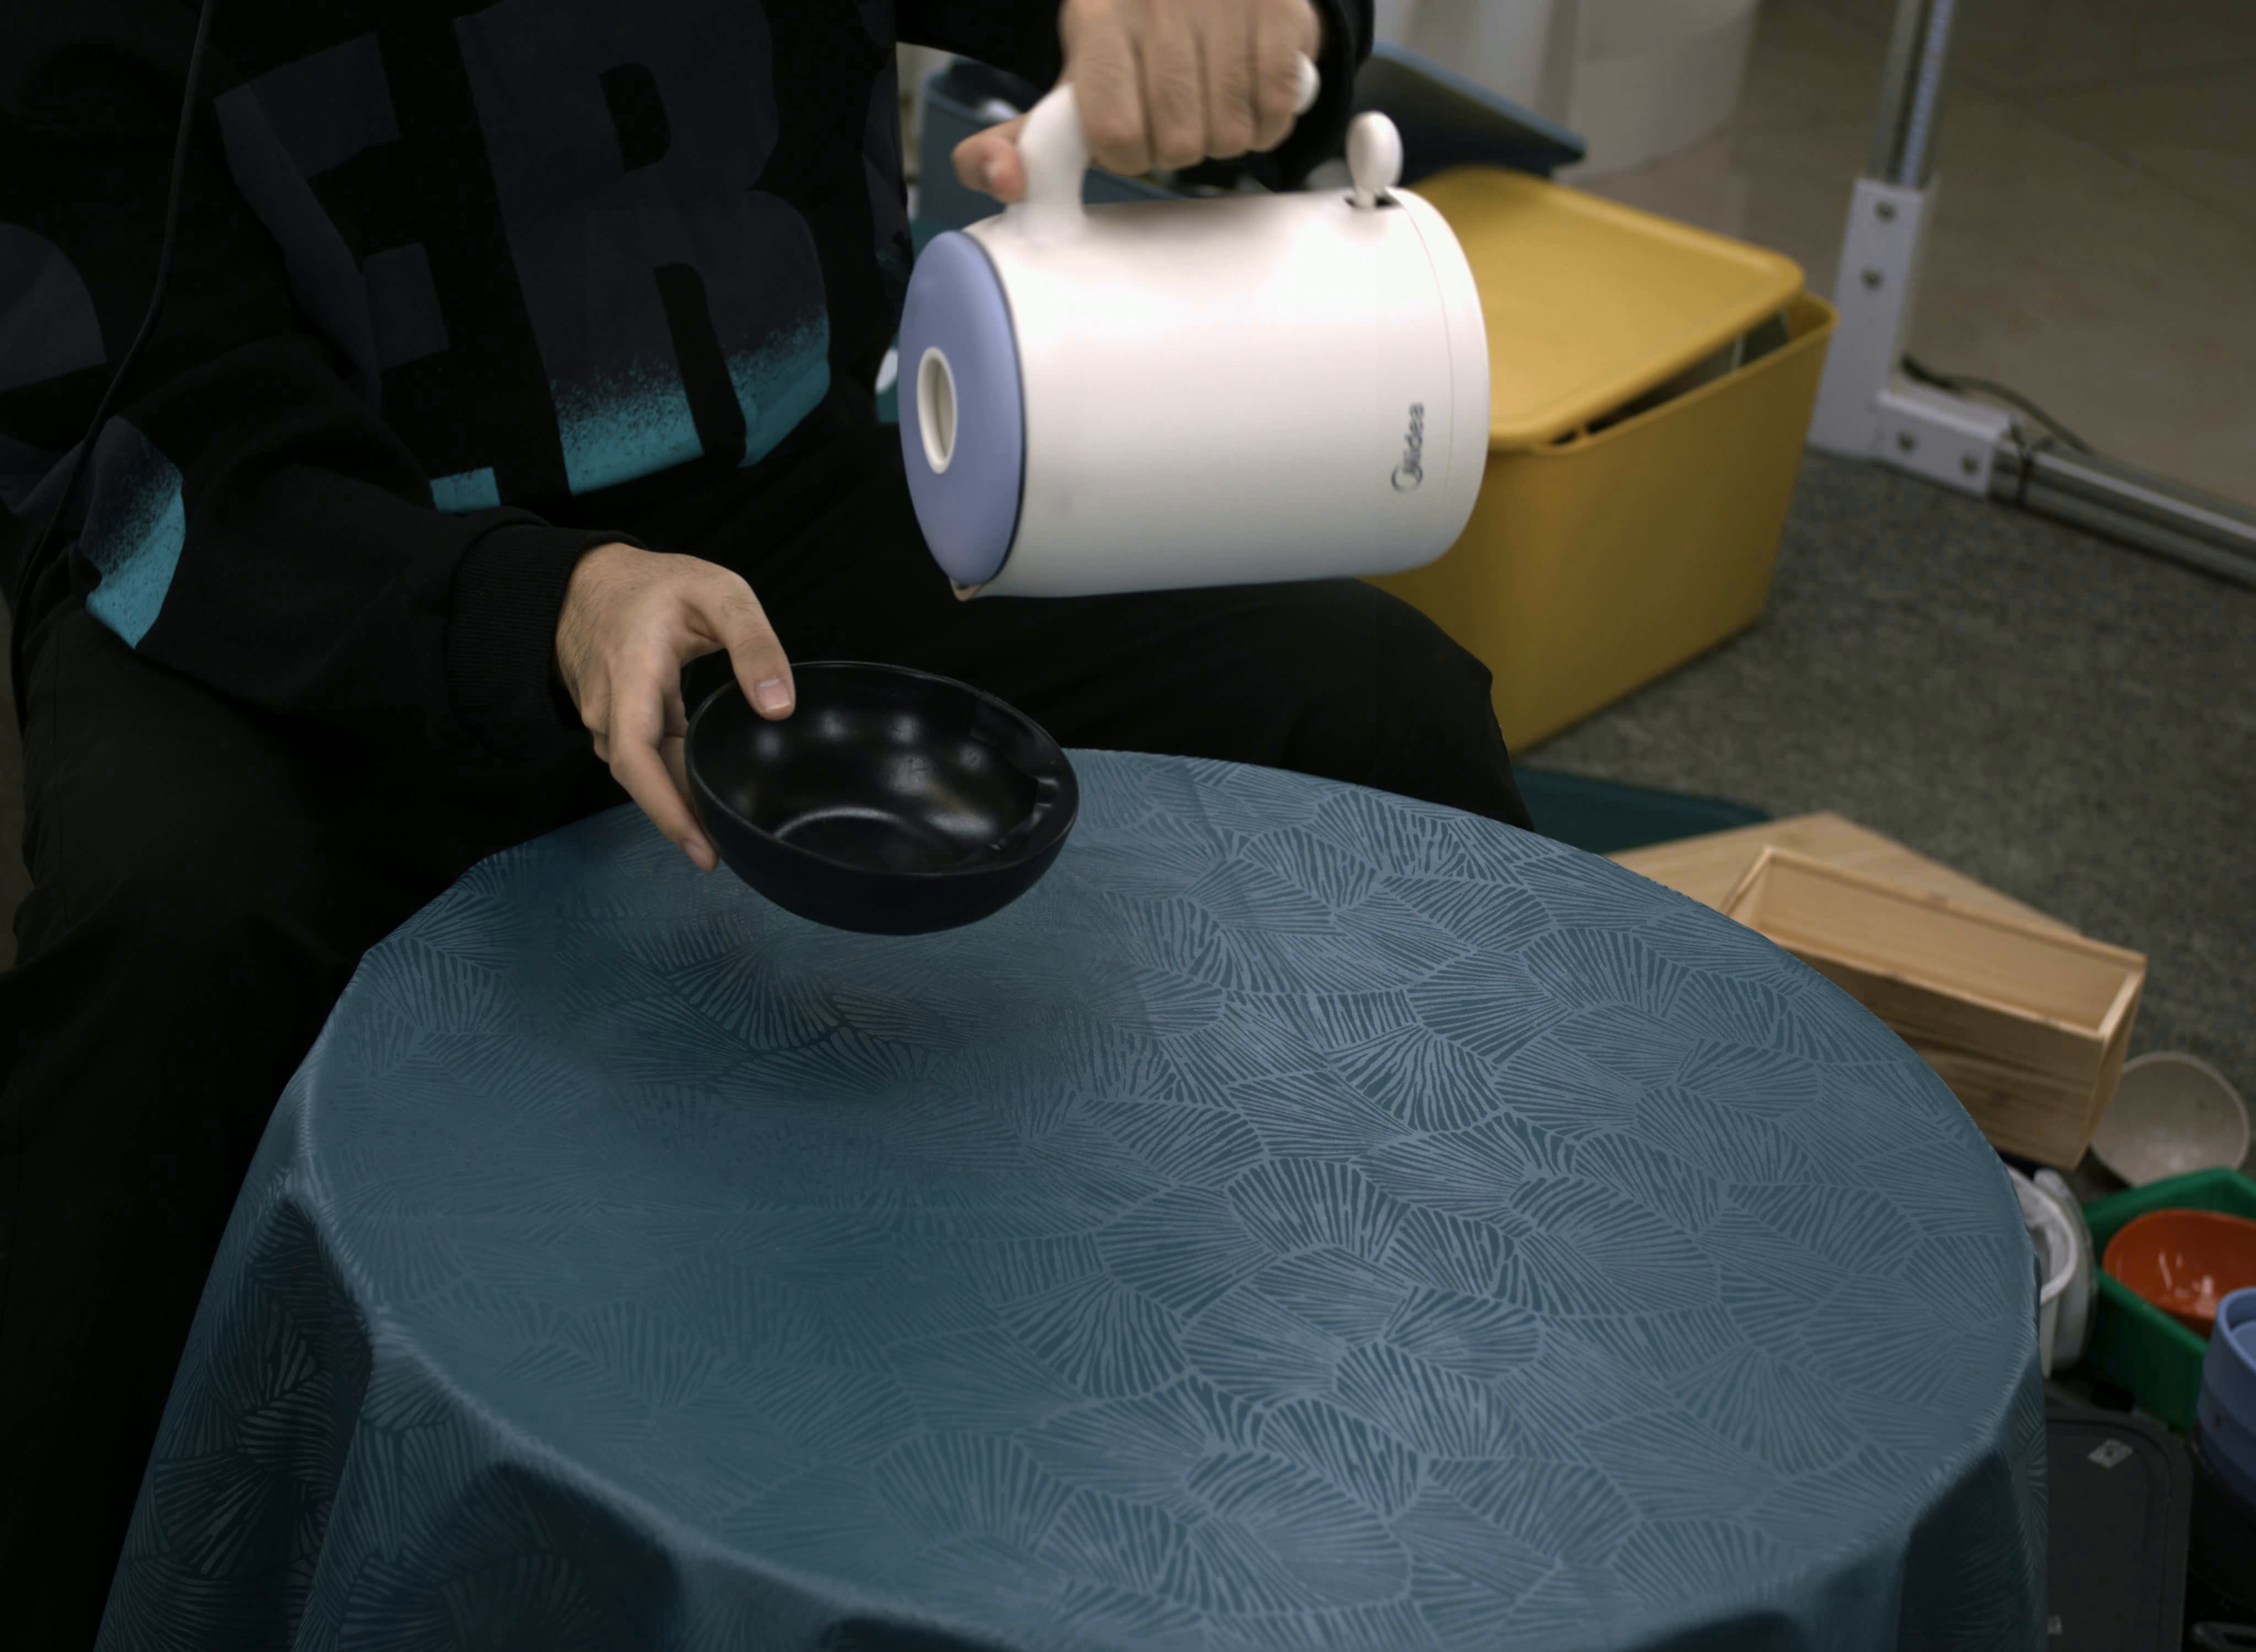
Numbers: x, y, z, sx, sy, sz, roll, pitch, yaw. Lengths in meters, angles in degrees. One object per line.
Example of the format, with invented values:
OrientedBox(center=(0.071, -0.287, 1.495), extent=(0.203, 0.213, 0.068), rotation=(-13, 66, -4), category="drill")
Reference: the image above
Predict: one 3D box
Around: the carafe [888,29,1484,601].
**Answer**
OrientedBox(center=(0.020, -0.171, 1.783), extent=(0.181, 0.190, 0.133), rotation=(-5, 23, -20), category="carafe")

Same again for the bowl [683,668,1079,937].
OrientedBox(center=(-0.088, 0.000, 1.846), extent=(0.139, 0.049, 0.141), rotation=(8, 29, -5), category="bowl")
